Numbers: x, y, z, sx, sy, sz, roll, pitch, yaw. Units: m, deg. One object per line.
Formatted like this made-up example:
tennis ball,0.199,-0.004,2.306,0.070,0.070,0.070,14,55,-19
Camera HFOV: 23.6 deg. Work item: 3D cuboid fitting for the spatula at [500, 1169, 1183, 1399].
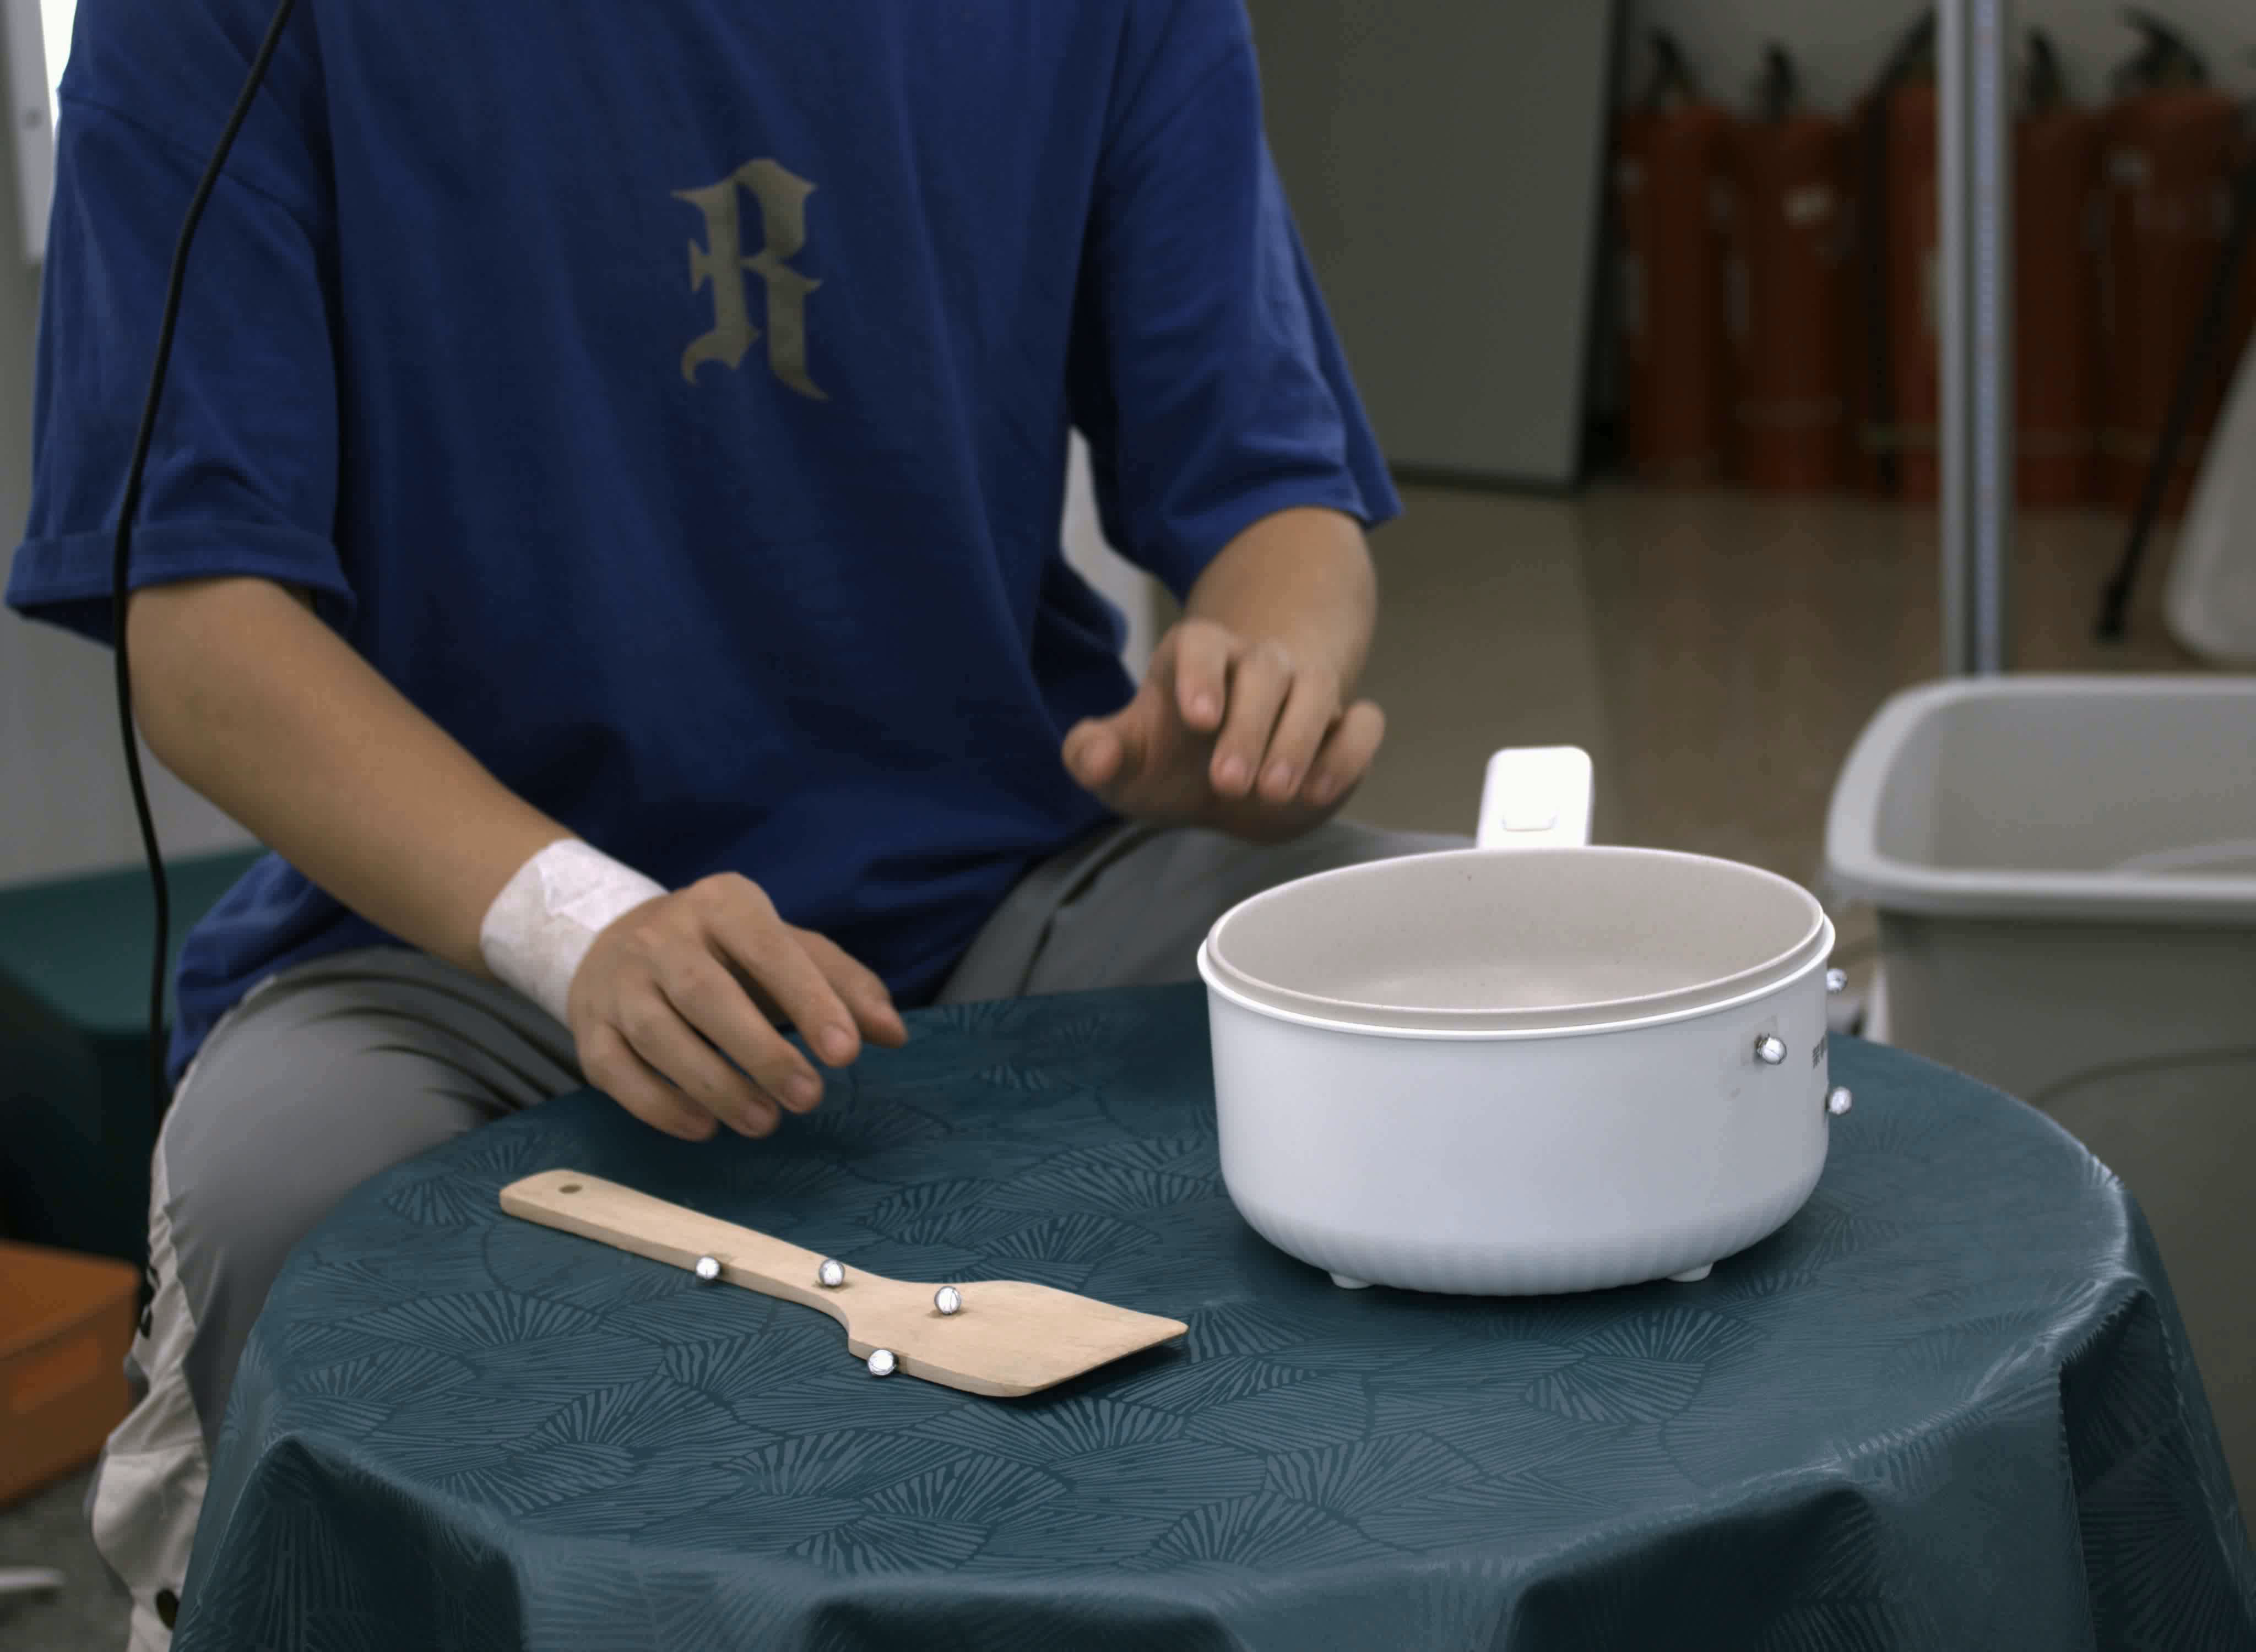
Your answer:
spatula,-0.104,0.141,1.701,0.071,0.011,0.296,-17,19,-39

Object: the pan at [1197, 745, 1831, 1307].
pan,0.132,0.062,1.772,0.199,0.103,0.354,-4,14,7
